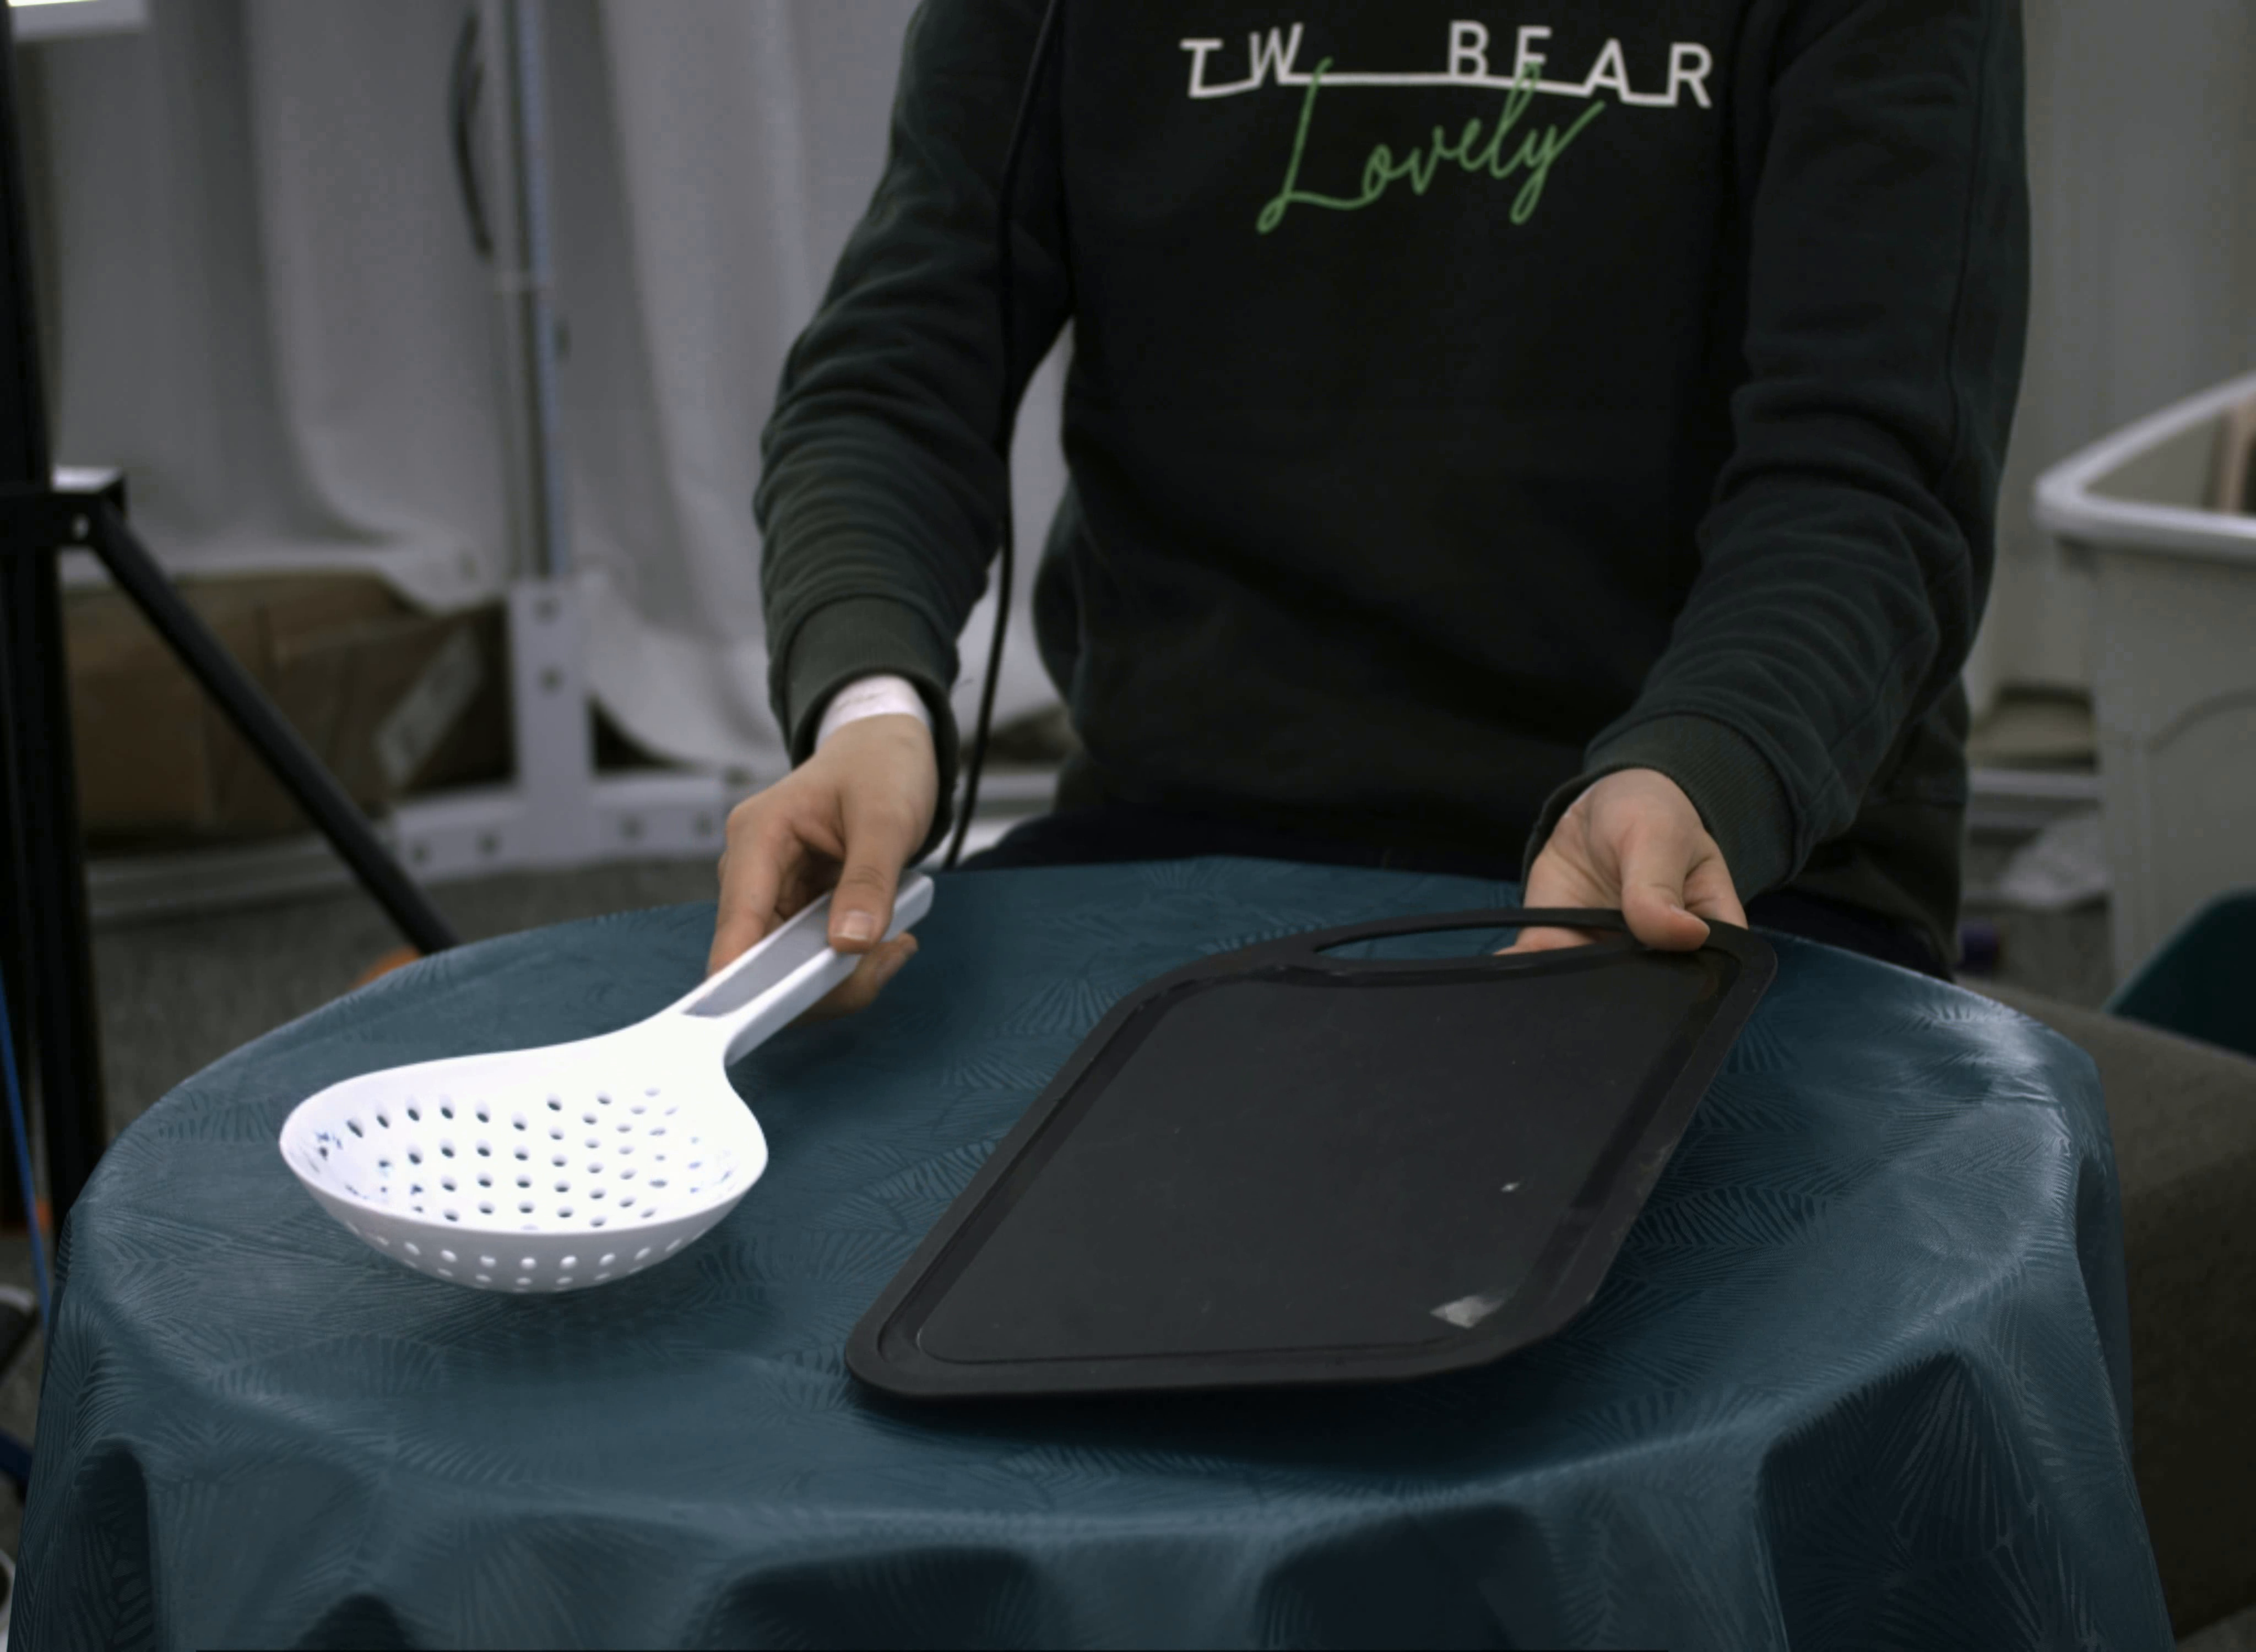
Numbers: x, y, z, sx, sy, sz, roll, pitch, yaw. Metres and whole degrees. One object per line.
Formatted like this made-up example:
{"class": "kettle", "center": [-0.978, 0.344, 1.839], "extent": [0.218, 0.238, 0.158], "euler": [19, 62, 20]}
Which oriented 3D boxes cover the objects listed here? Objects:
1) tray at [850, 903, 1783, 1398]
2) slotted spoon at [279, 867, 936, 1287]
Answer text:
{"class": "tray", "center": [0.061, 0.084, 1.494], "extent": [0.214, 0.010, 0.322], "euler": [-5, 20, 23]}
{"class": "slotted spoon", "center": [-0.134, 0.066, 1.593], "extent": [0.137, 0.046, 0.346], "euler": [11, 23, 18]}
